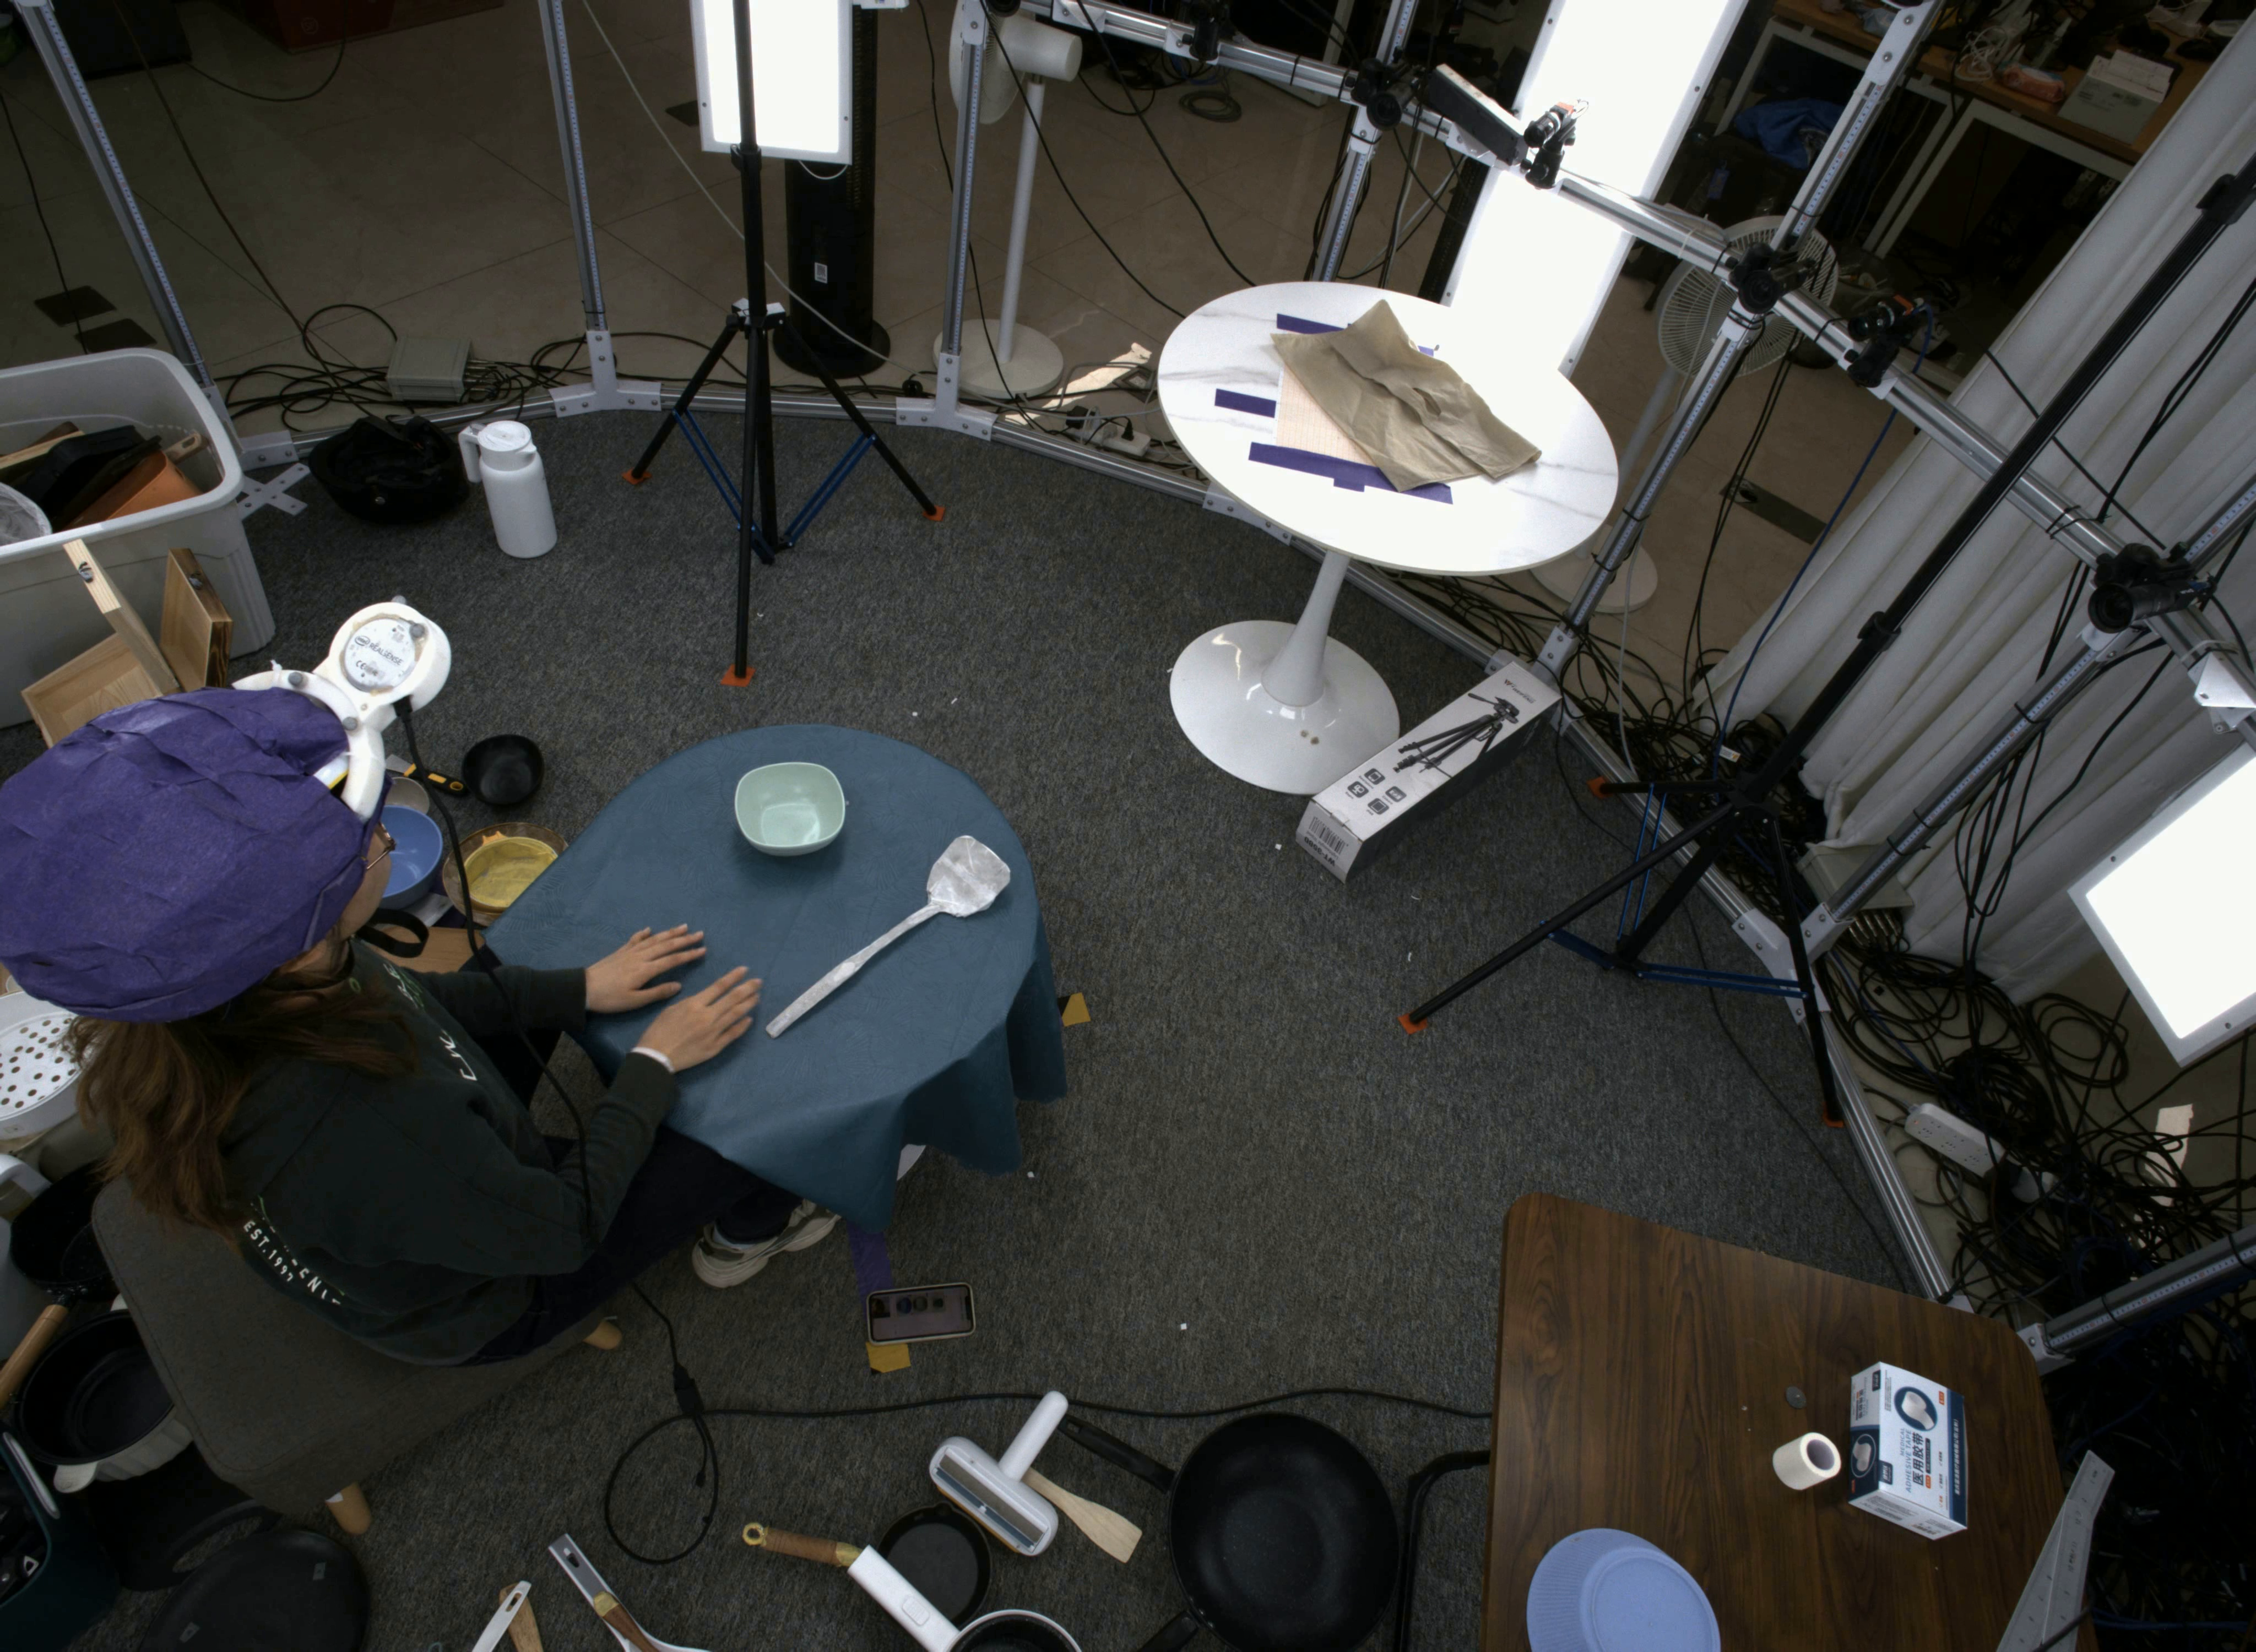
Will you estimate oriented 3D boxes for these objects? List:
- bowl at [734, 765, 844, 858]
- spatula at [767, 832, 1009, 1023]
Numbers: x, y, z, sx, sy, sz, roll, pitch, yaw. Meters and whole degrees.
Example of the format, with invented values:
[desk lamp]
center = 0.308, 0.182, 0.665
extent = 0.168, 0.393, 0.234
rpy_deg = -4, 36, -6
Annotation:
[bowl]
center = -0.443, -0.011, 1.697
extent = 0.151, 0.060, 0.148
rpy_deg = 8, 50, -8
[spatula]
center = -0.303, 0.133, 1.636
extent = 0.097, 0.045, 0.365
rpy_deg = 42, 55, 15
